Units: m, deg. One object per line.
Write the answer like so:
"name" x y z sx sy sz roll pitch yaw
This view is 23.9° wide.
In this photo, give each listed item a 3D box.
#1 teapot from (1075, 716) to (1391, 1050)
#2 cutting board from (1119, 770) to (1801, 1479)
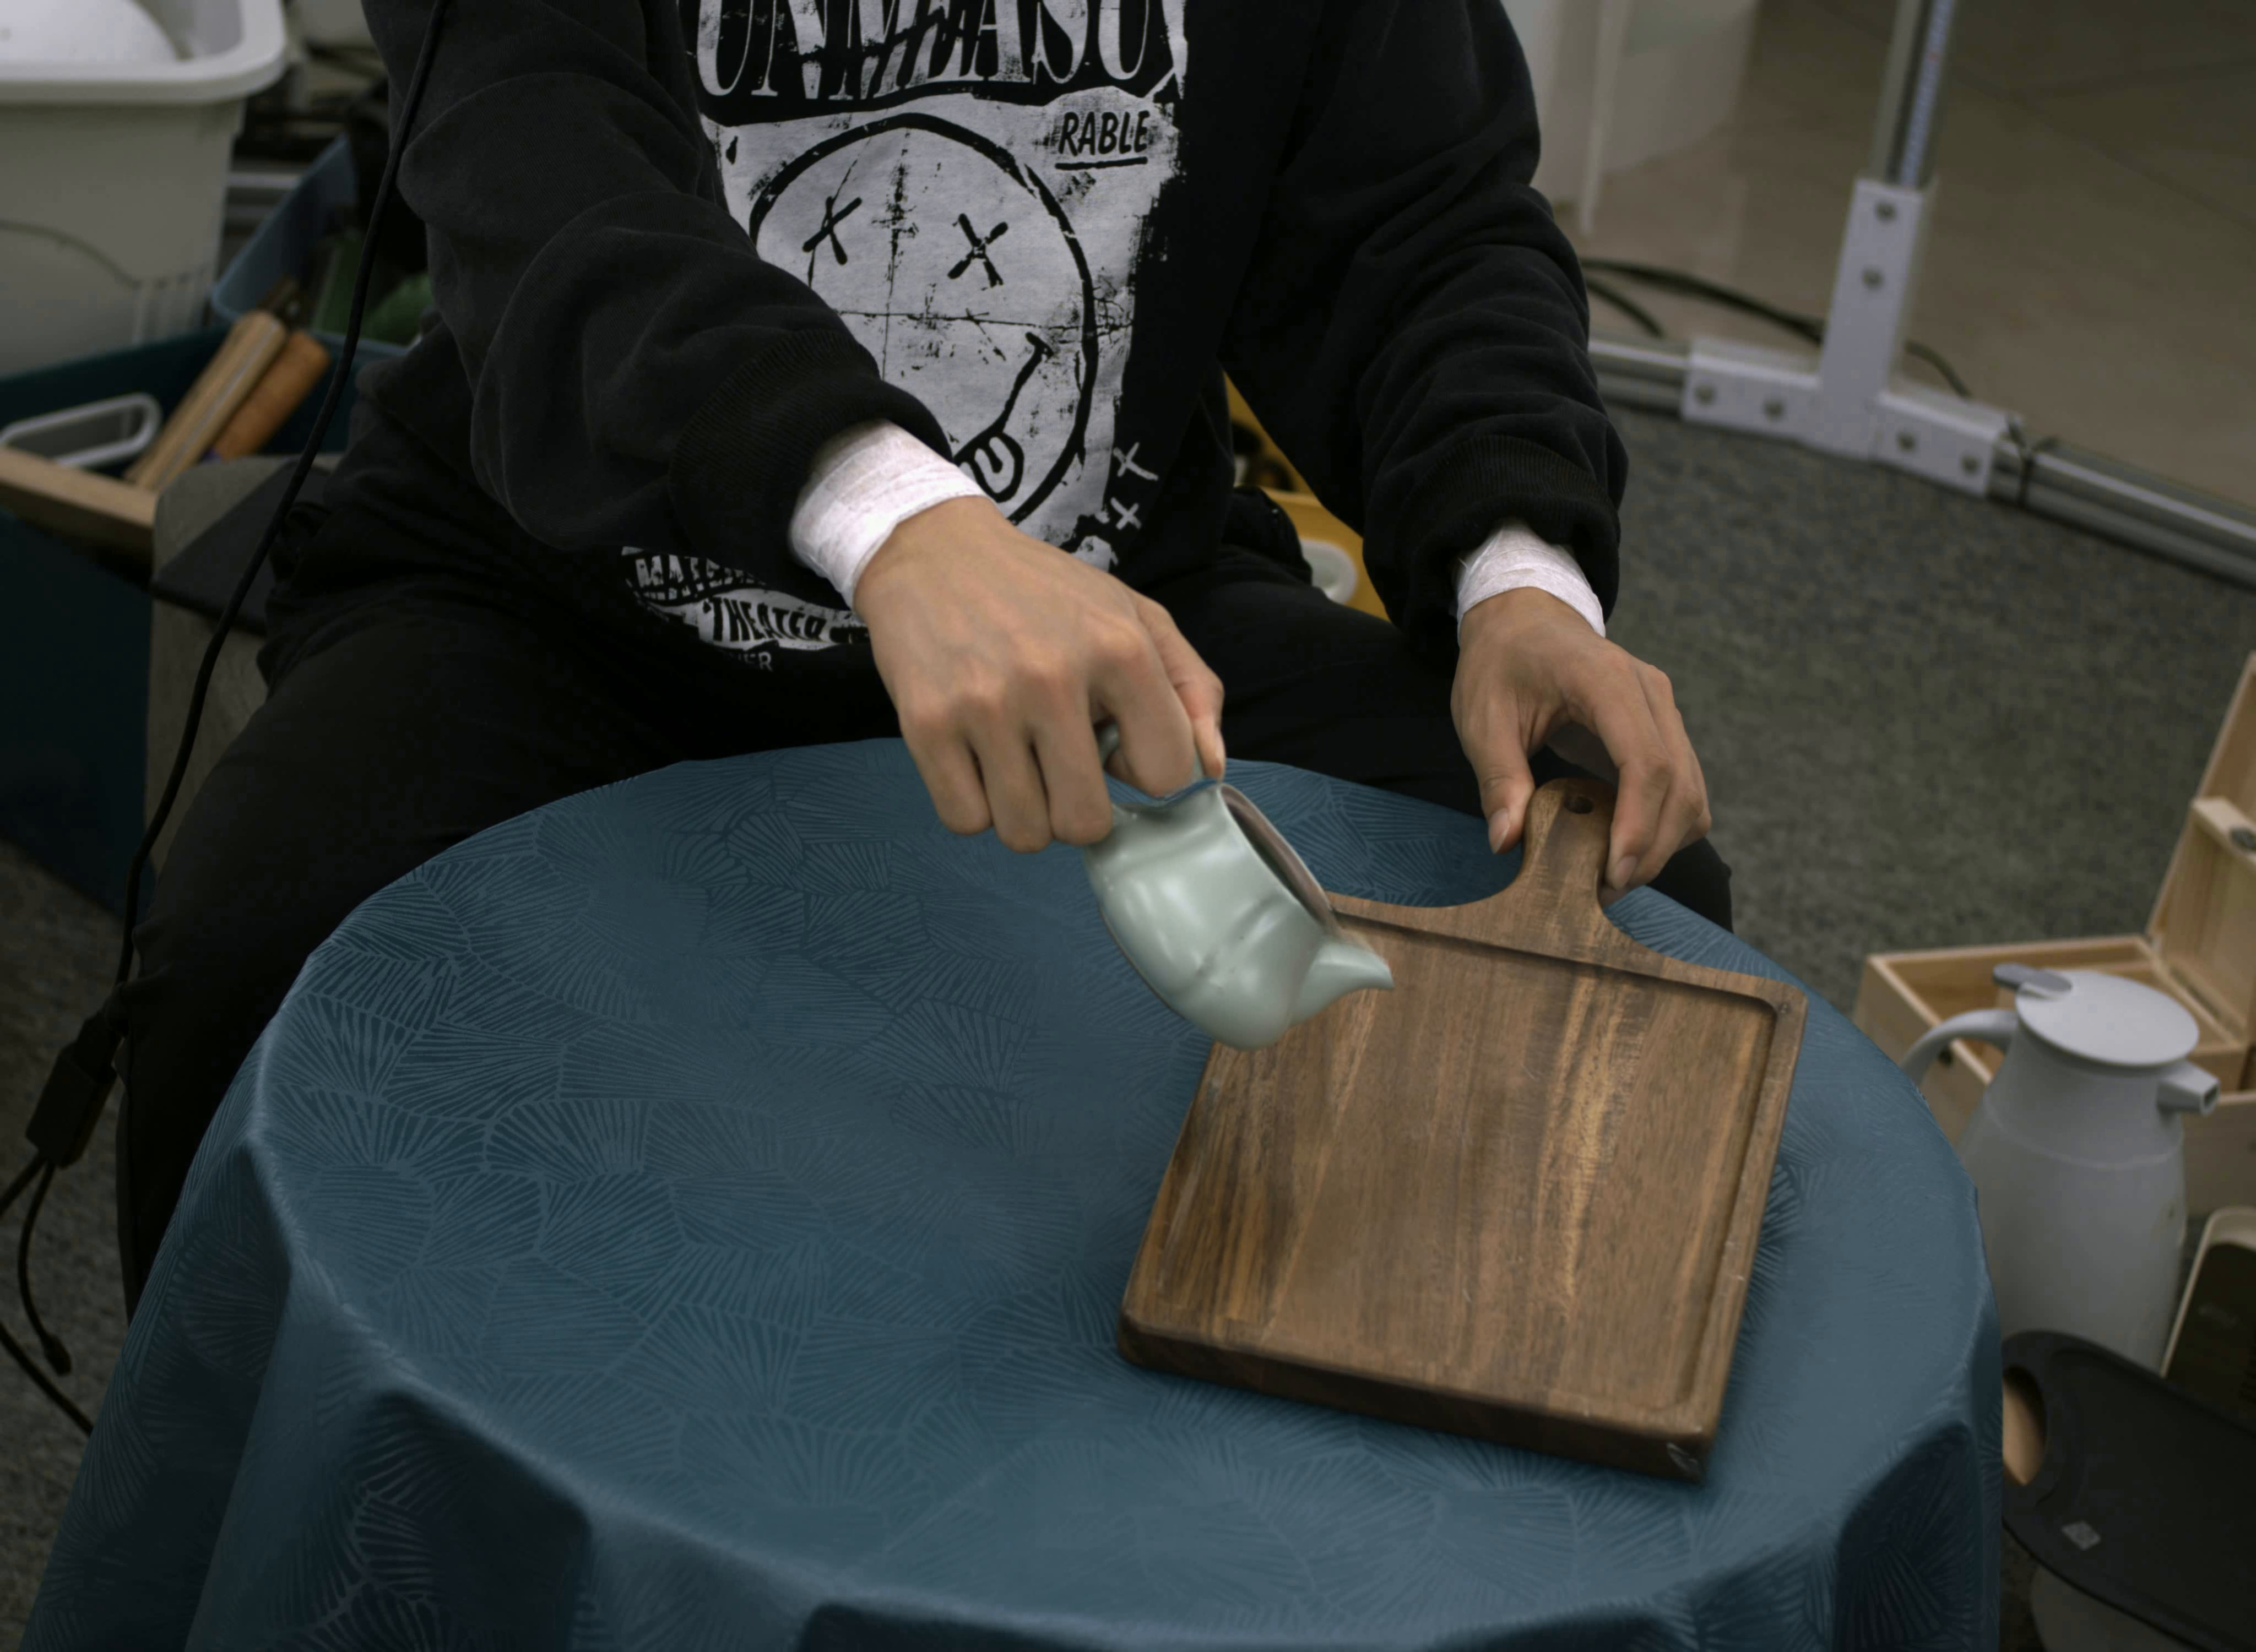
"teapot" 0.025 0.022 1.747 0.061 0.136 0.097 -37 24 11
"cutting board" 0.127 0.086 1.826 0.201 0.023 0.354 10 36 8
